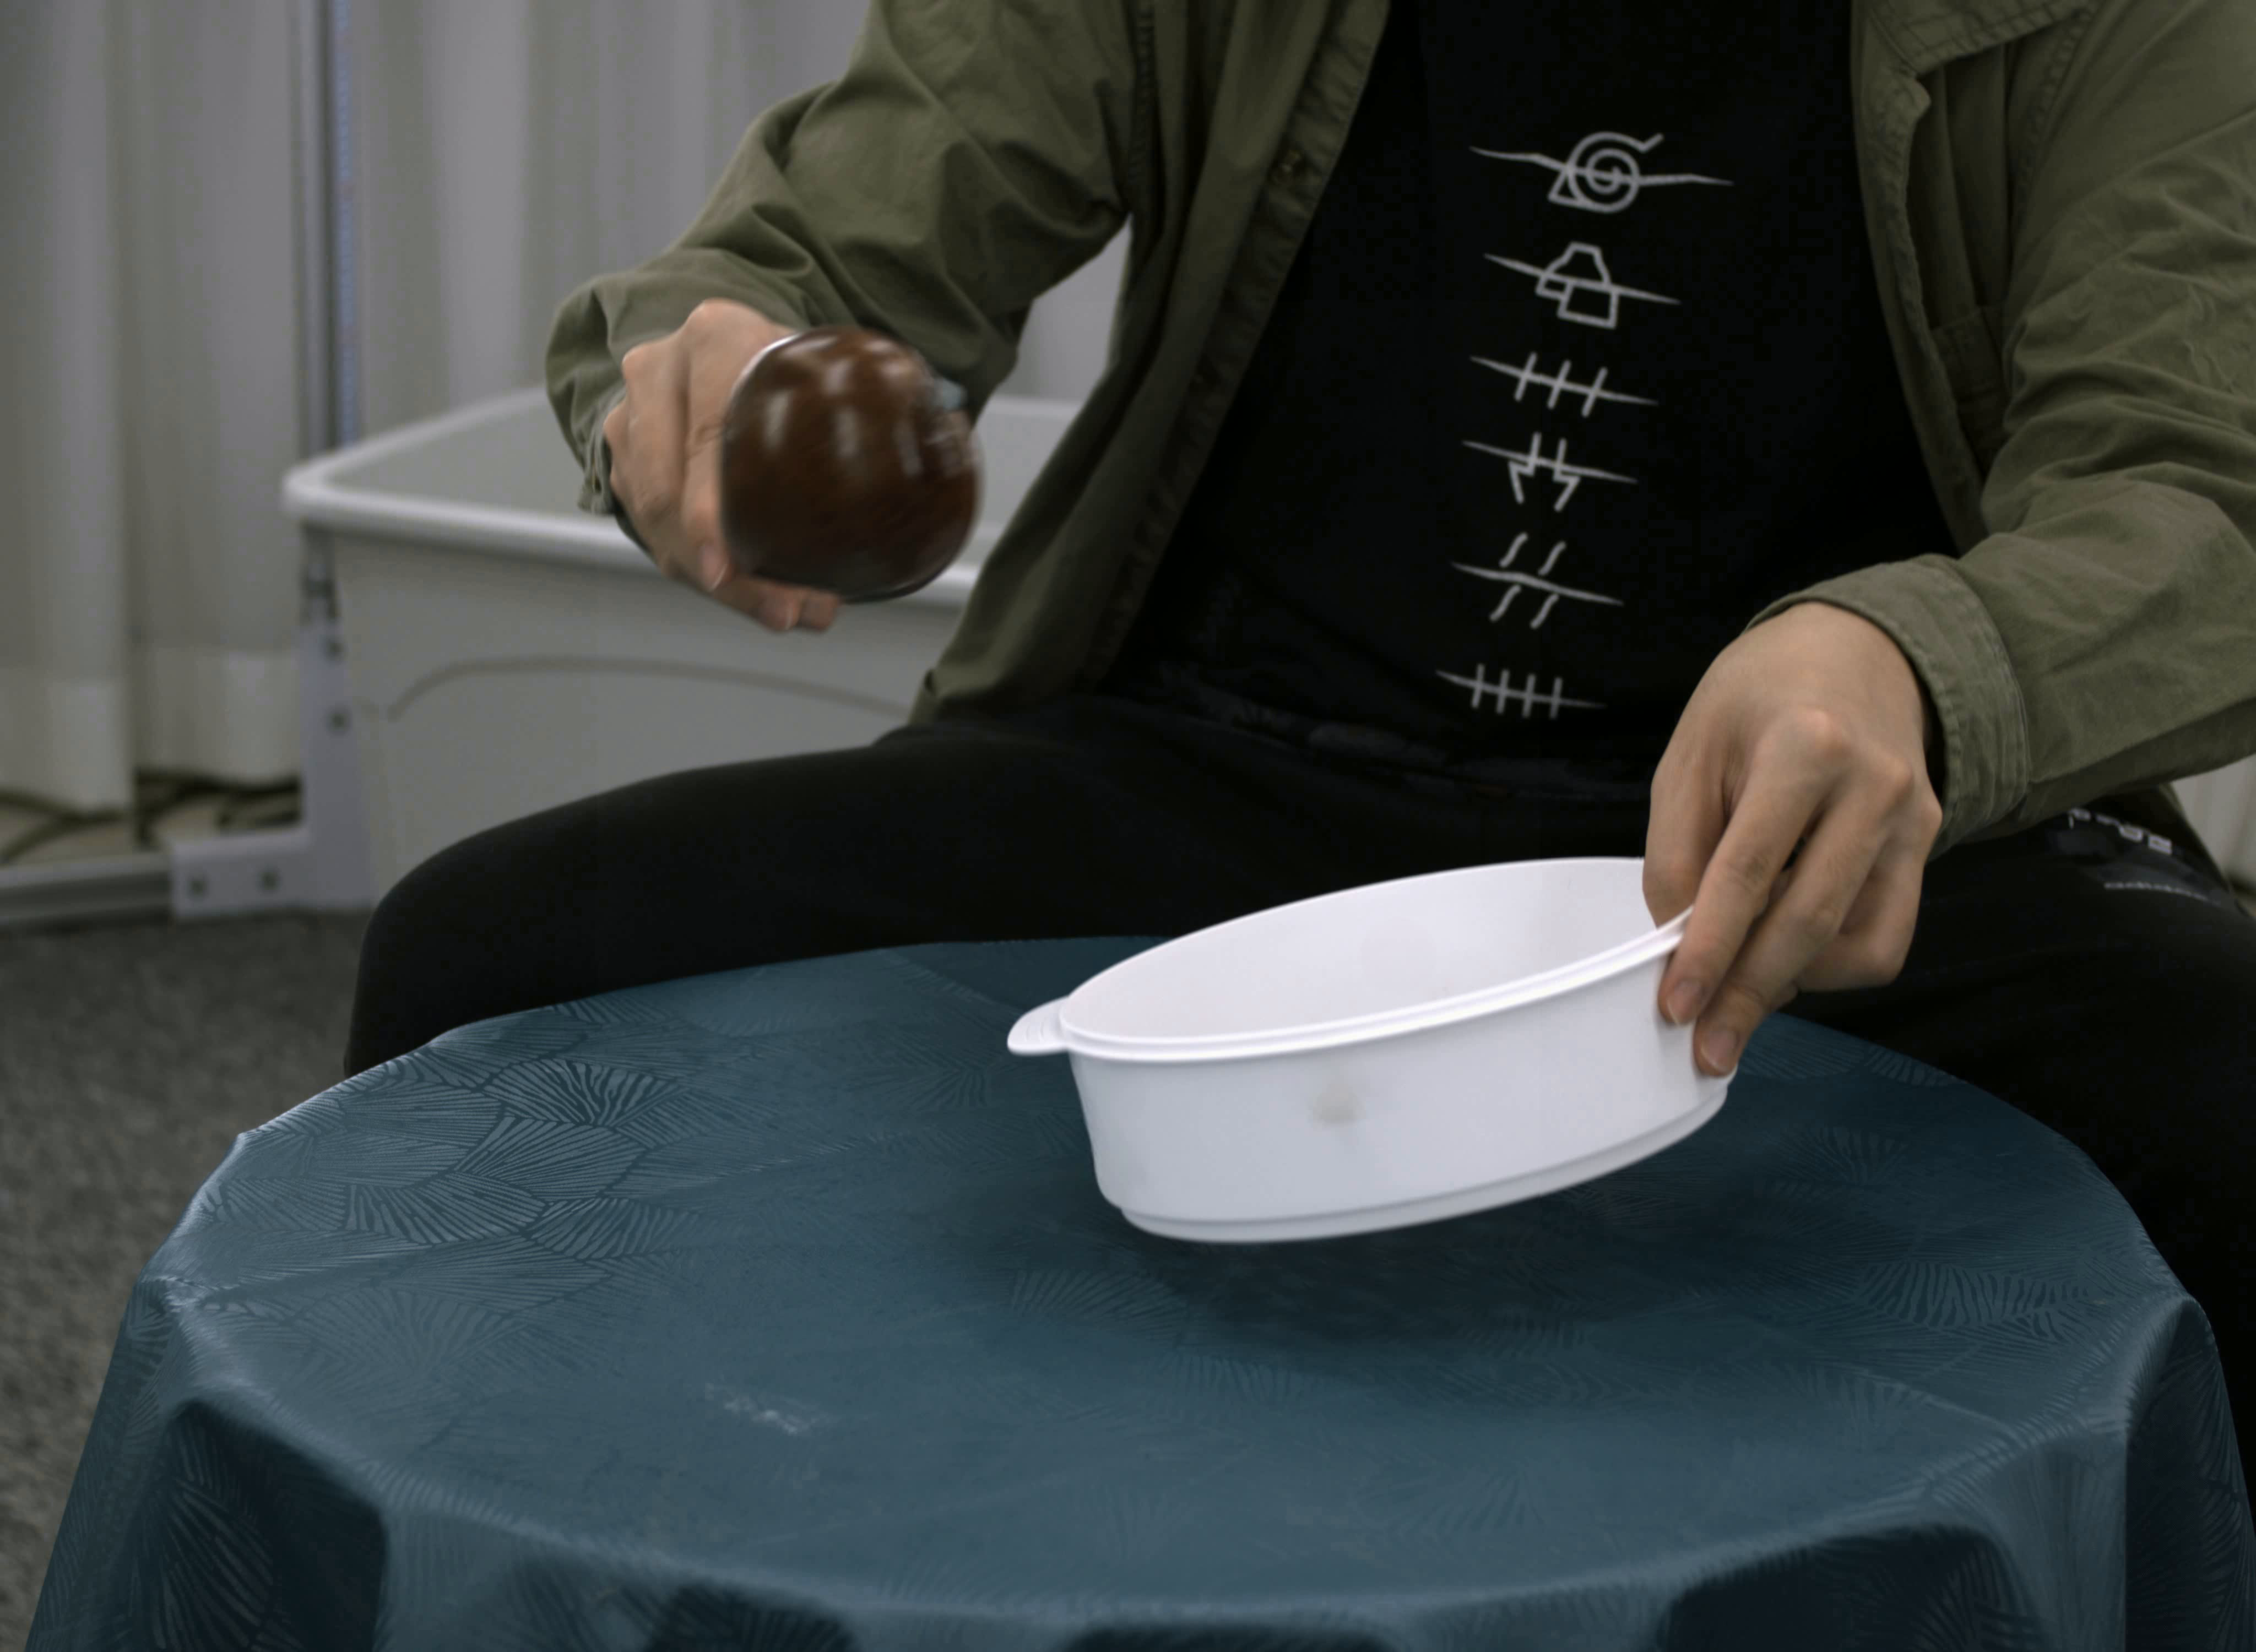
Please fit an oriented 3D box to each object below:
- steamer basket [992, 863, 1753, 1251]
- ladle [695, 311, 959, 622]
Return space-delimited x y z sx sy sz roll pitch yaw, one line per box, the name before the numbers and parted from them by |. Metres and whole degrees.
steamer basket | 0.077 0.069 1.570 0.229 0.070 0.201 -10 10 7
ladle | -0.093 -0.101 1.584 0.076 0.082 0.274 -31 1 -3
